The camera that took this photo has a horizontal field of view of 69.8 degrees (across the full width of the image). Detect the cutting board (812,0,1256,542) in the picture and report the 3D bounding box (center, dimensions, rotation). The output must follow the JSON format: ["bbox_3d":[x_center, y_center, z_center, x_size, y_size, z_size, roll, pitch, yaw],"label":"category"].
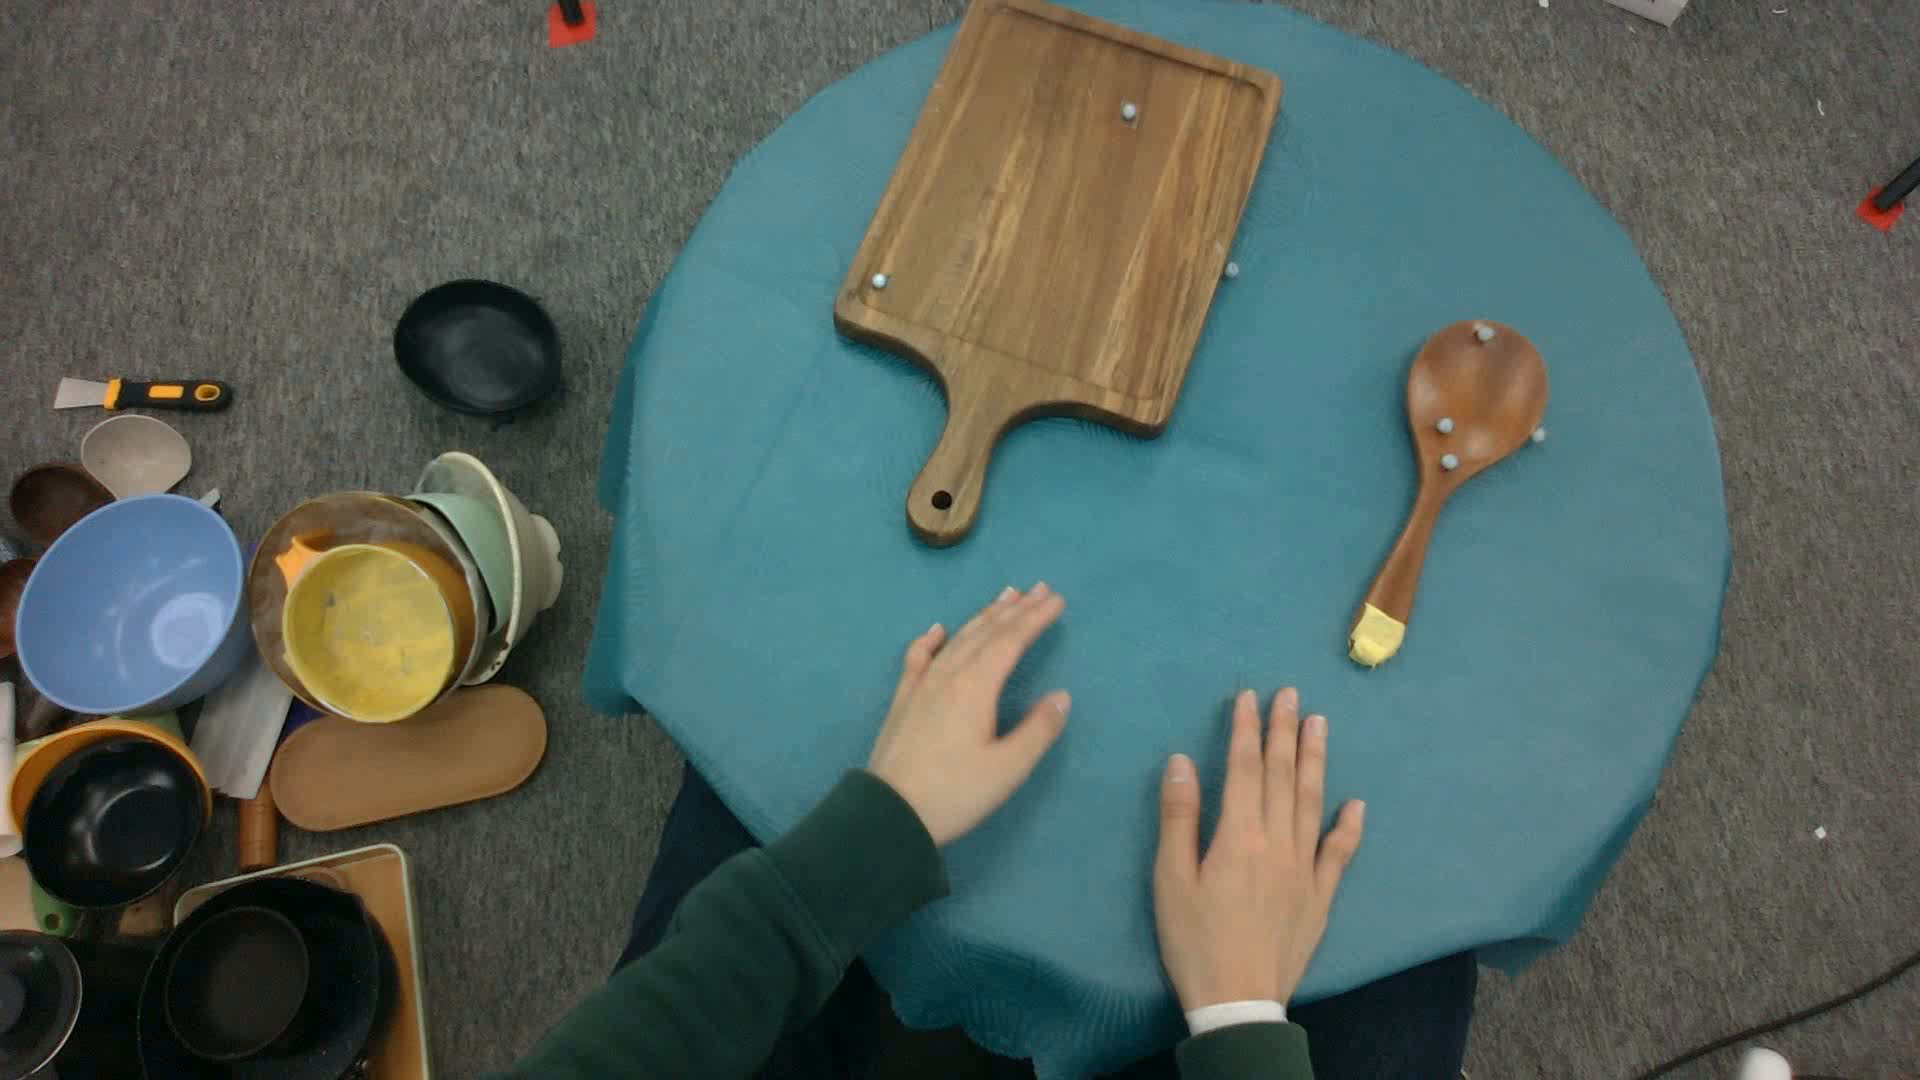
[{"bbox_3d":[0.032,-0.158,0.780,0.201,0.023,0.353,19,68,4],"label":"cutting board"}]

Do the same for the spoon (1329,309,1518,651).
[{"bbox_3d":[0.244,-0.035,0.742,0.075,0.017,0.216,25,68,5],"label":"spoon"}]
